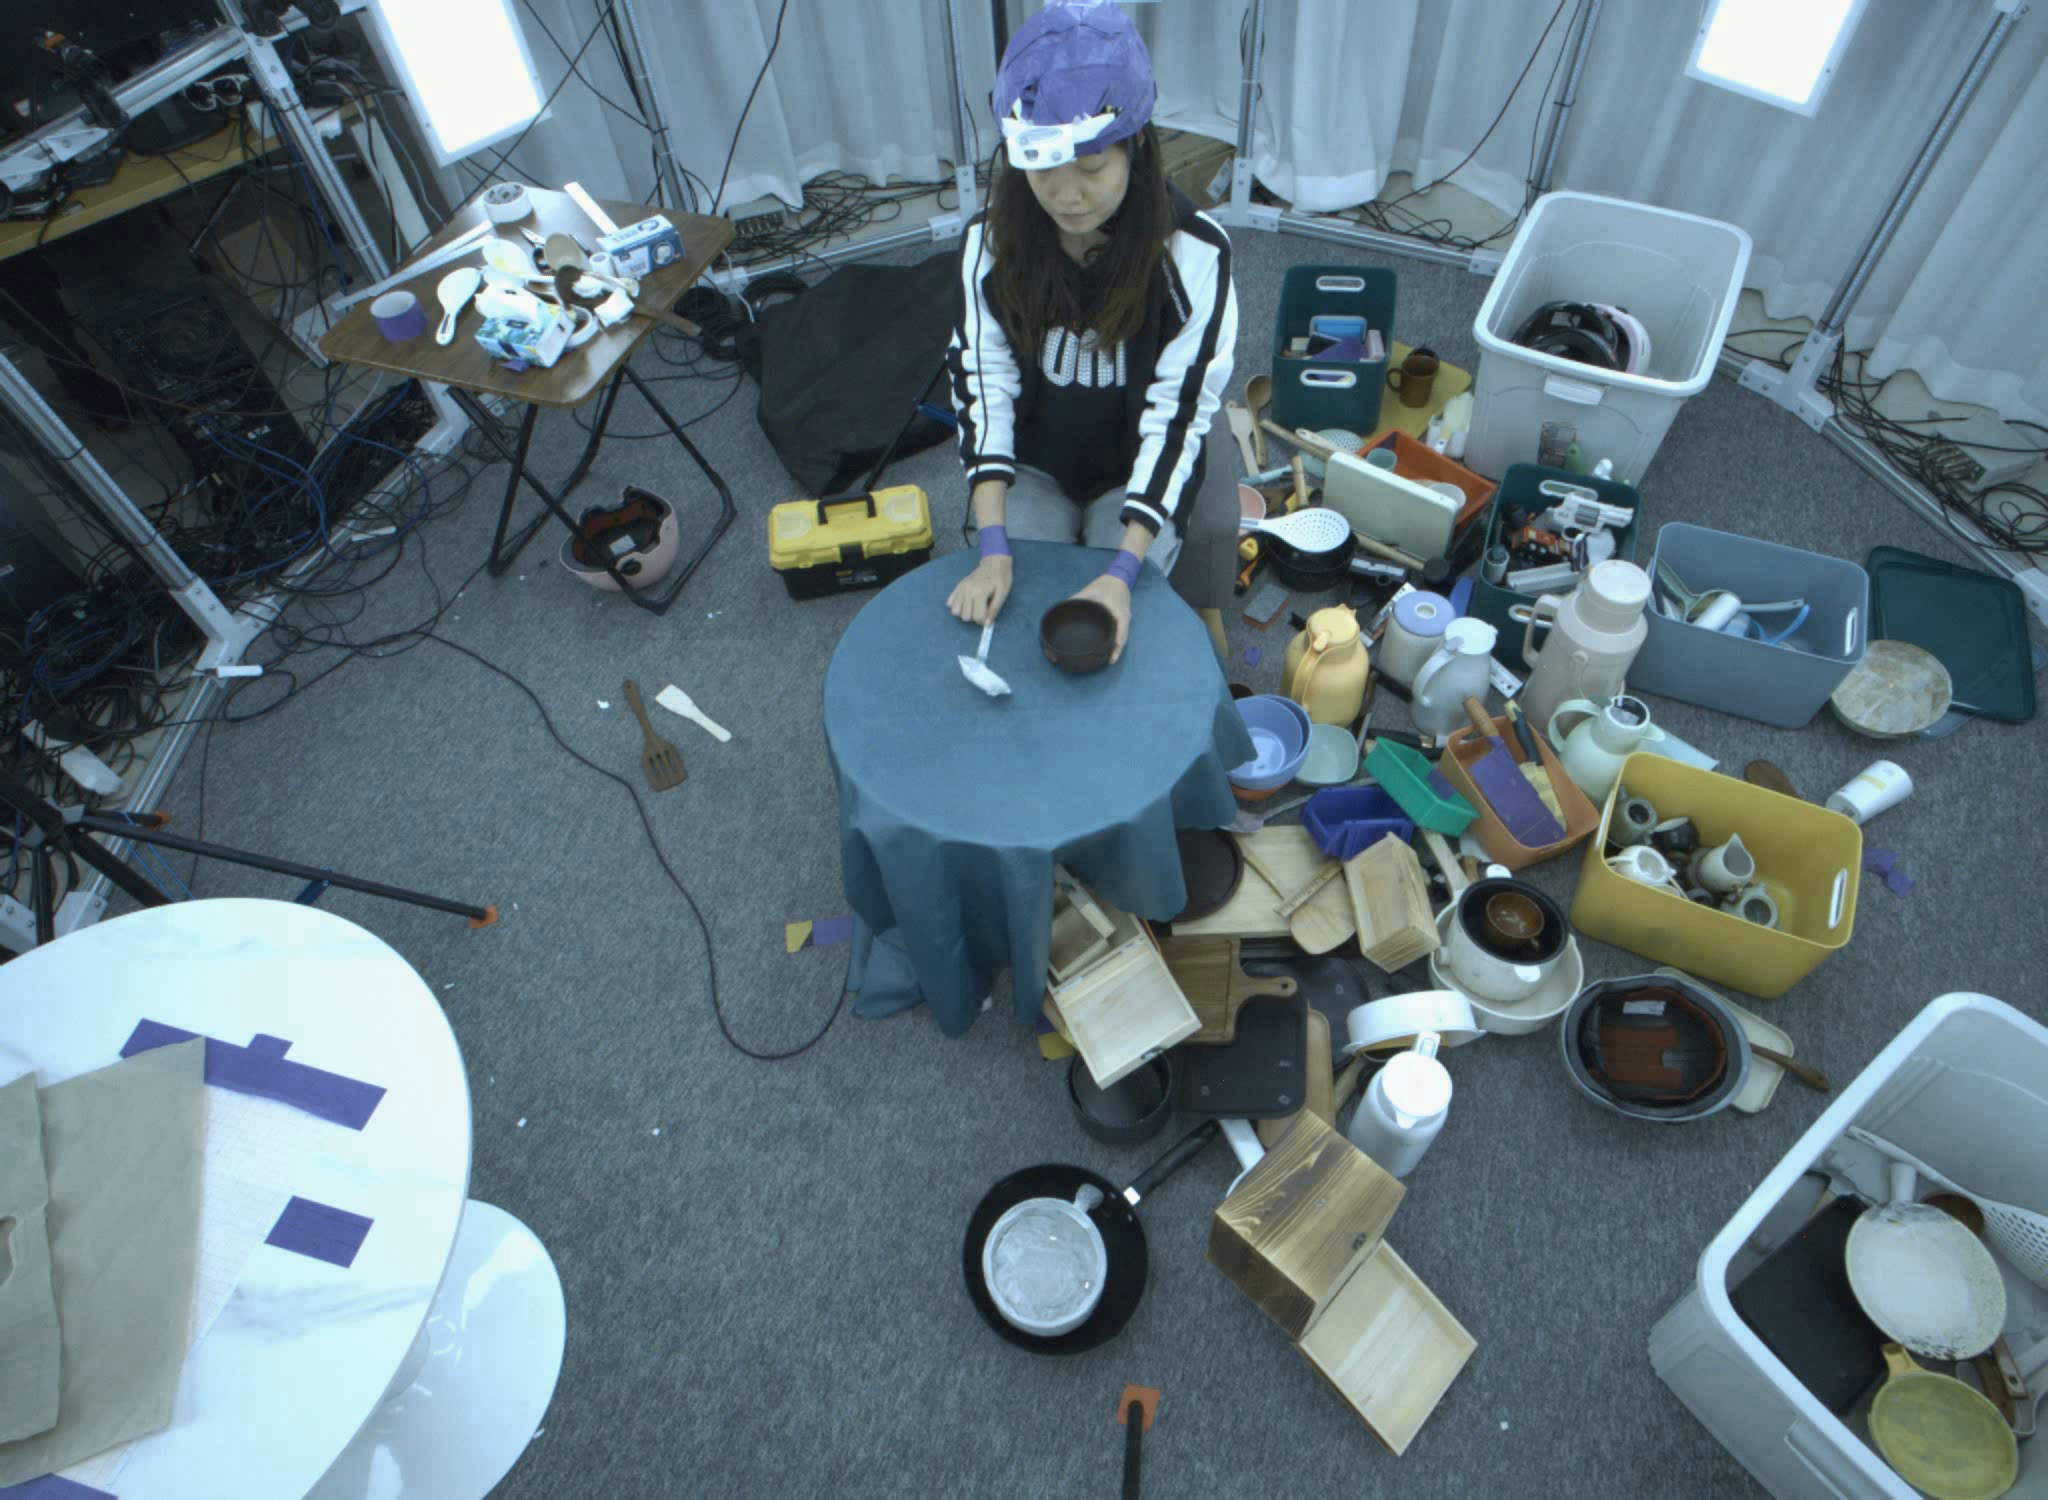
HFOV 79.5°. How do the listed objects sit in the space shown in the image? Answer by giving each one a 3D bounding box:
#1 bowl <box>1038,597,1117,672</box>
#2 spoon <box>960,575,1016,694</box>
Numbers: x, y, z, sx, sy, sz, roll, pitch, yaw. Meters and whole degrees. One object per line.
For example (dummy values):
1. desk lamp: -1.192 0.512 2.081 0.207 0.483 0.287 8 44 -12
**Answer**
1. bowl: 0.081 -0.167 1.858 0.118 0.070 0.117 0 55 2
2. spoon: -0.037 -0.186 1.888 0.102 0.058 0.276 36 47 -25
